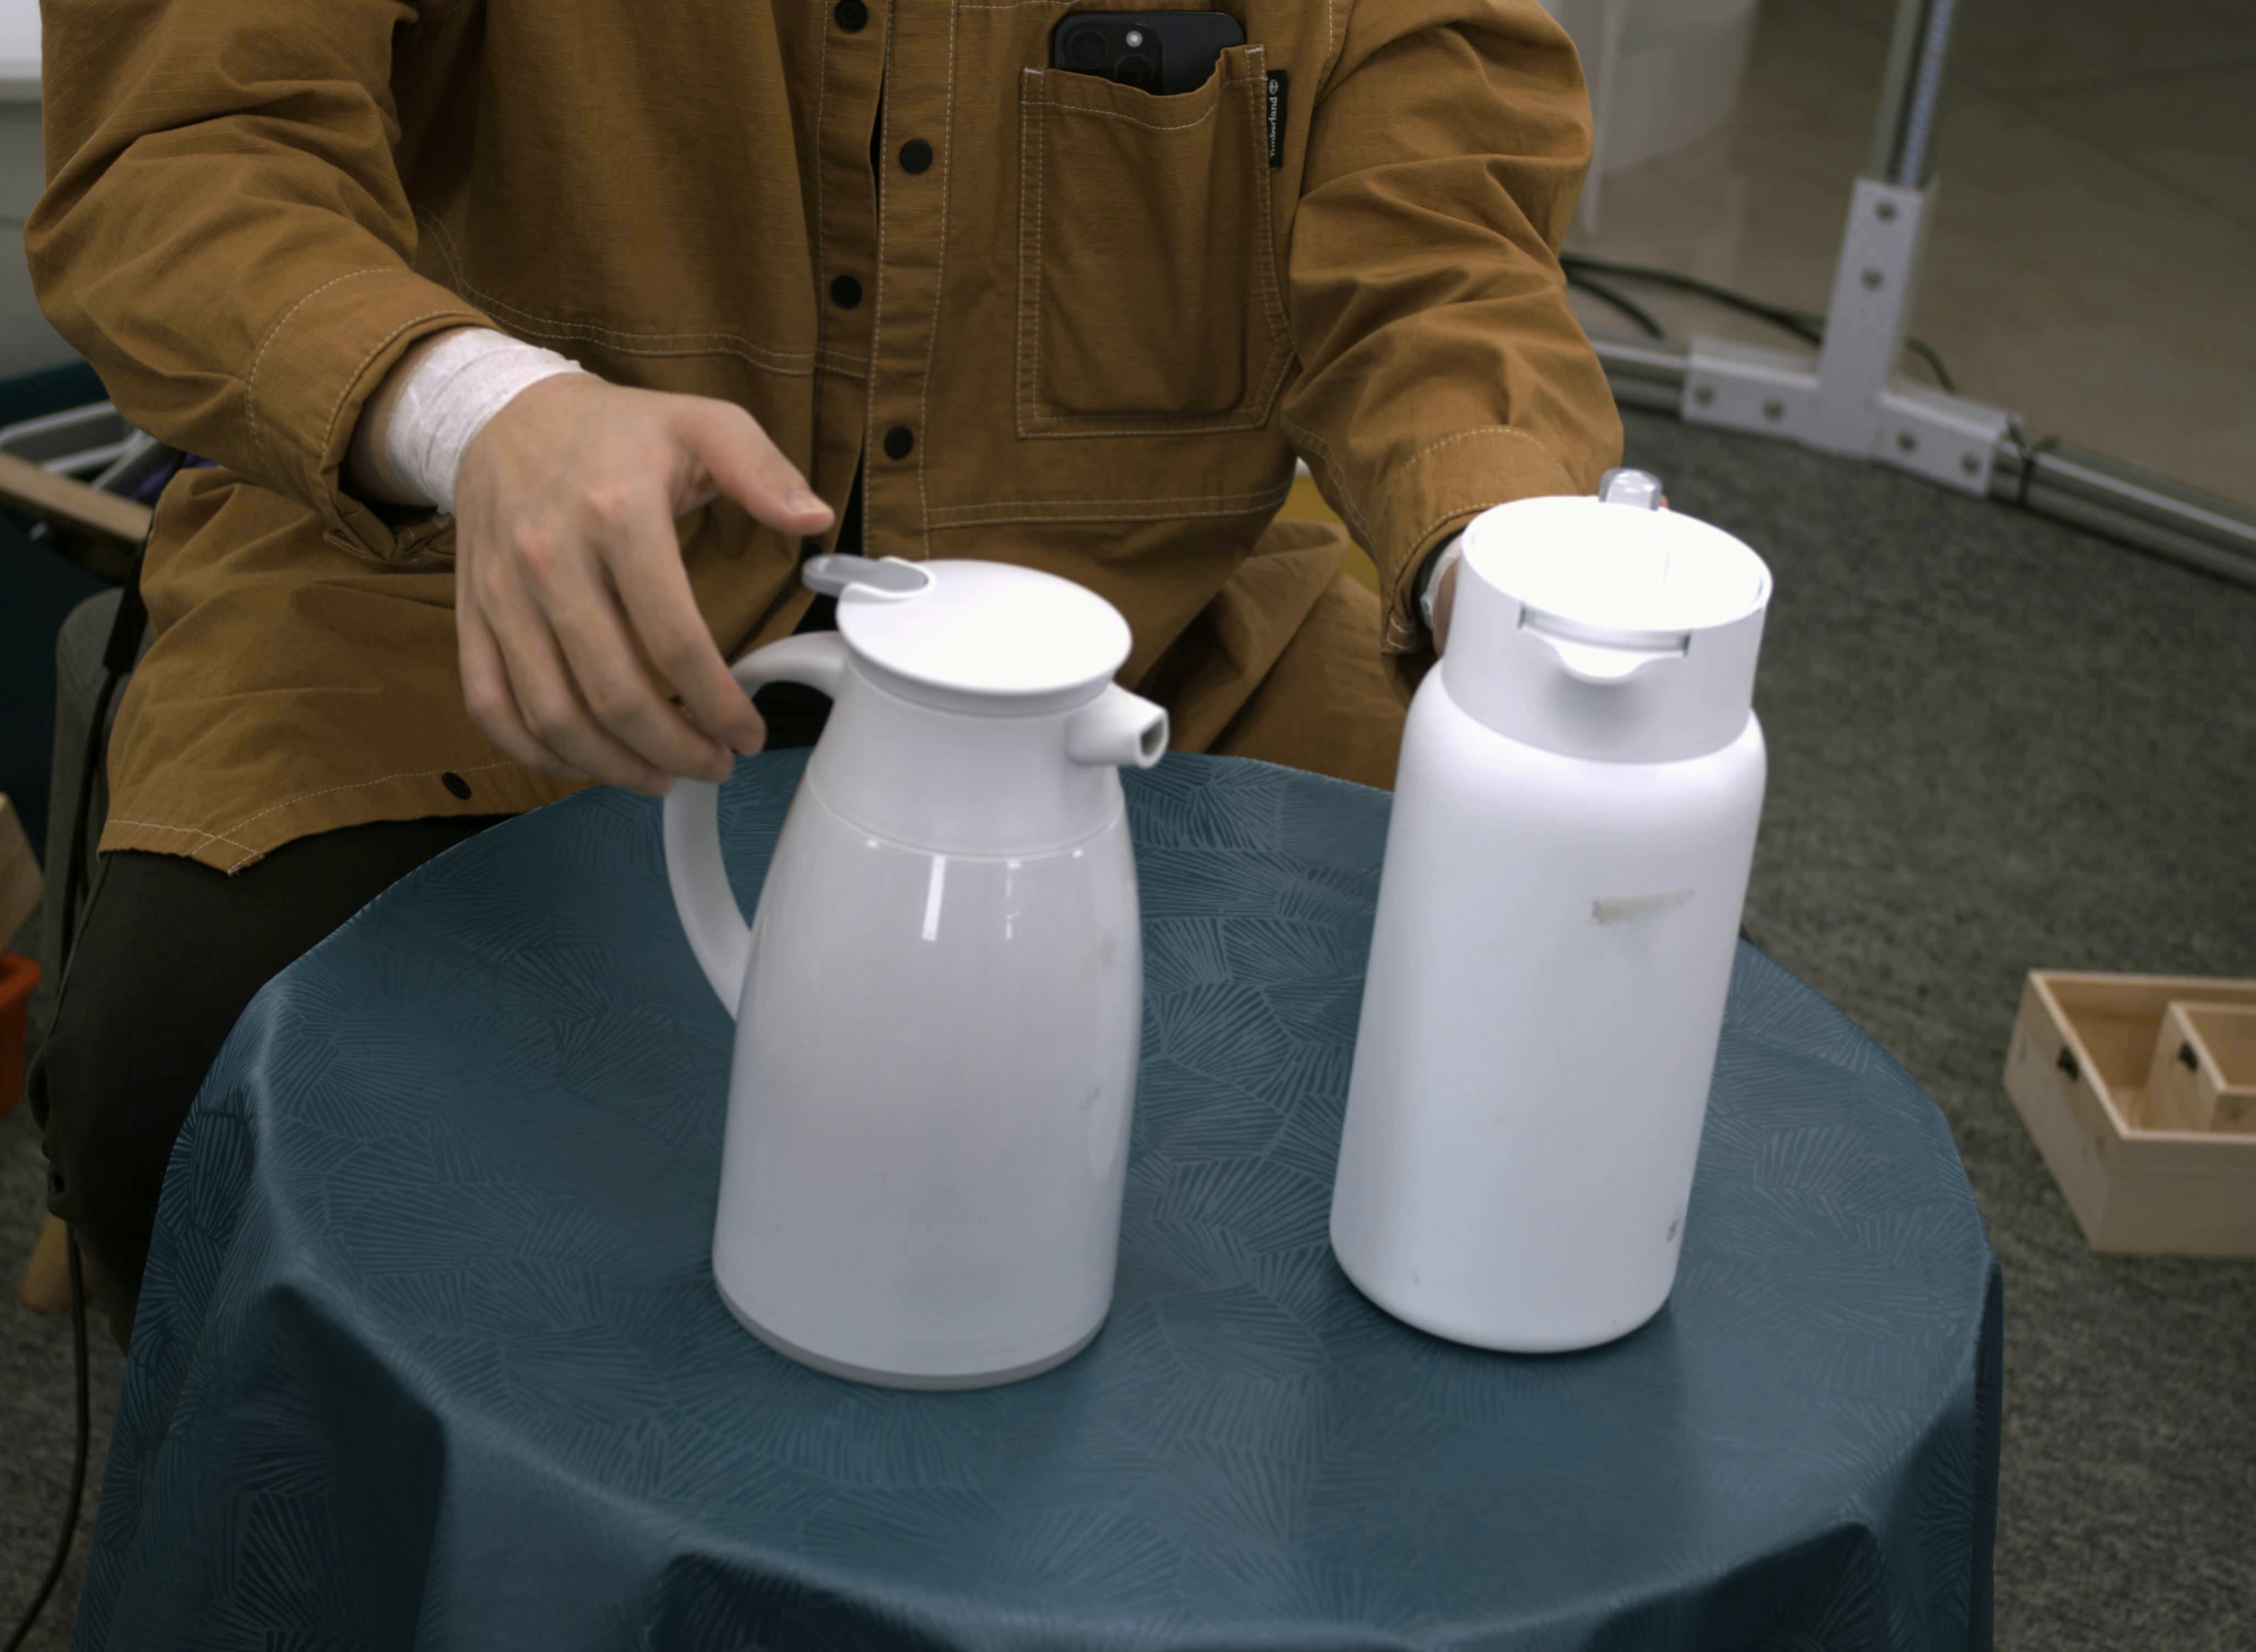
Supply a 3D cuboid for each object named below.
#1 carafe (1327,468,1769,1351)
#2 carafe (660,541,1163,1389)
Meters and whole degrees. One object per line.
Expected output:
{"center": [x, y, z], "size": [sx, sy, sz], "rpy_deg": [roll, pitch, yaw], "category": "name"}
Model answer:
{"center": [0.139, 0.023, 1.740], "size": [0.123, 0.268, 0.173], "rpy_deg": [7, 26, 6], "category": "carafe"}
{"center": [-0.076, 0.034, 1.692], "size": [0.168, 0.248, 0.132], "rpy_deg": [18, 28, 22], "category": "carafe"}
